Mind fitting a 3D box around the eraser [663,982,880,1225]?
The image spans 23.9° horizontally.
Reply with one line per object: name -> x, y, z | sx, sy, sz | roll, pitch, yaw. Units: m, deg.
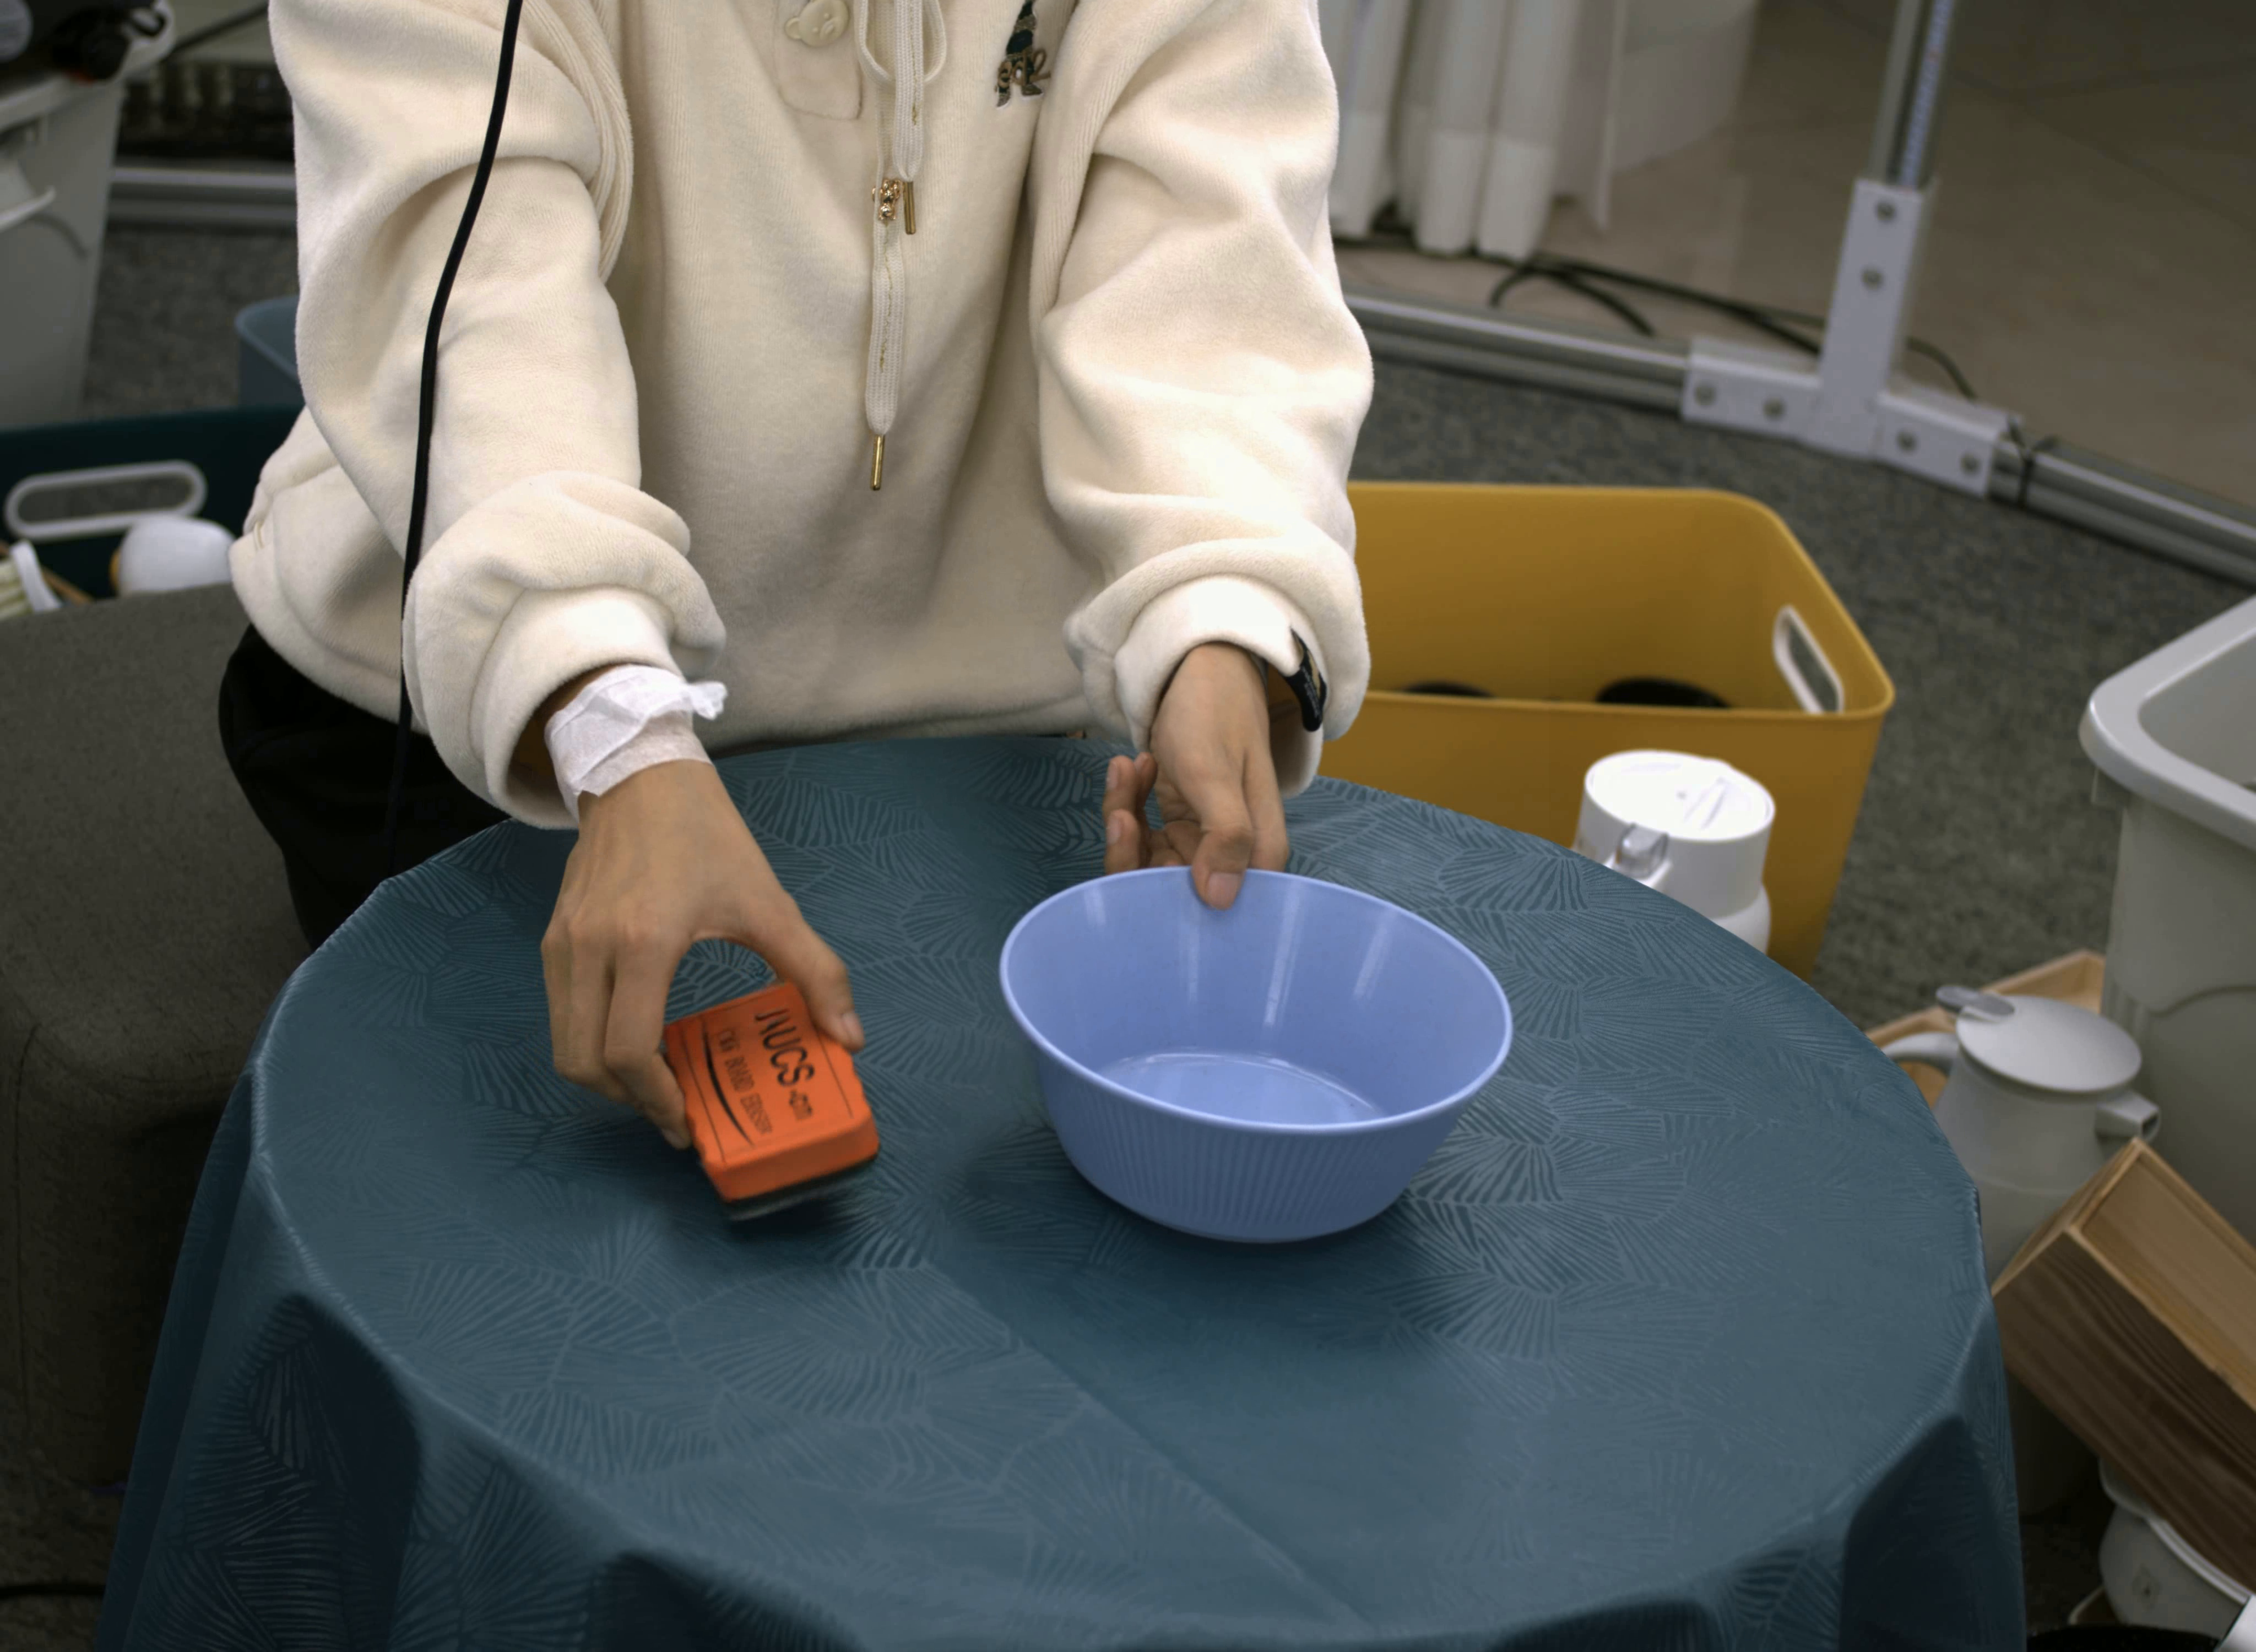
eraser -> -0.120, 0.092, 1.787 | 0.059, 0.023, 0.109 | -17, 29, -6

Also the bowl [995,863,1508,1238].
bowl -> 0.038, 0.082, 1.811 | 0.175, 0.070, 0.177 | 6, 28, -3
